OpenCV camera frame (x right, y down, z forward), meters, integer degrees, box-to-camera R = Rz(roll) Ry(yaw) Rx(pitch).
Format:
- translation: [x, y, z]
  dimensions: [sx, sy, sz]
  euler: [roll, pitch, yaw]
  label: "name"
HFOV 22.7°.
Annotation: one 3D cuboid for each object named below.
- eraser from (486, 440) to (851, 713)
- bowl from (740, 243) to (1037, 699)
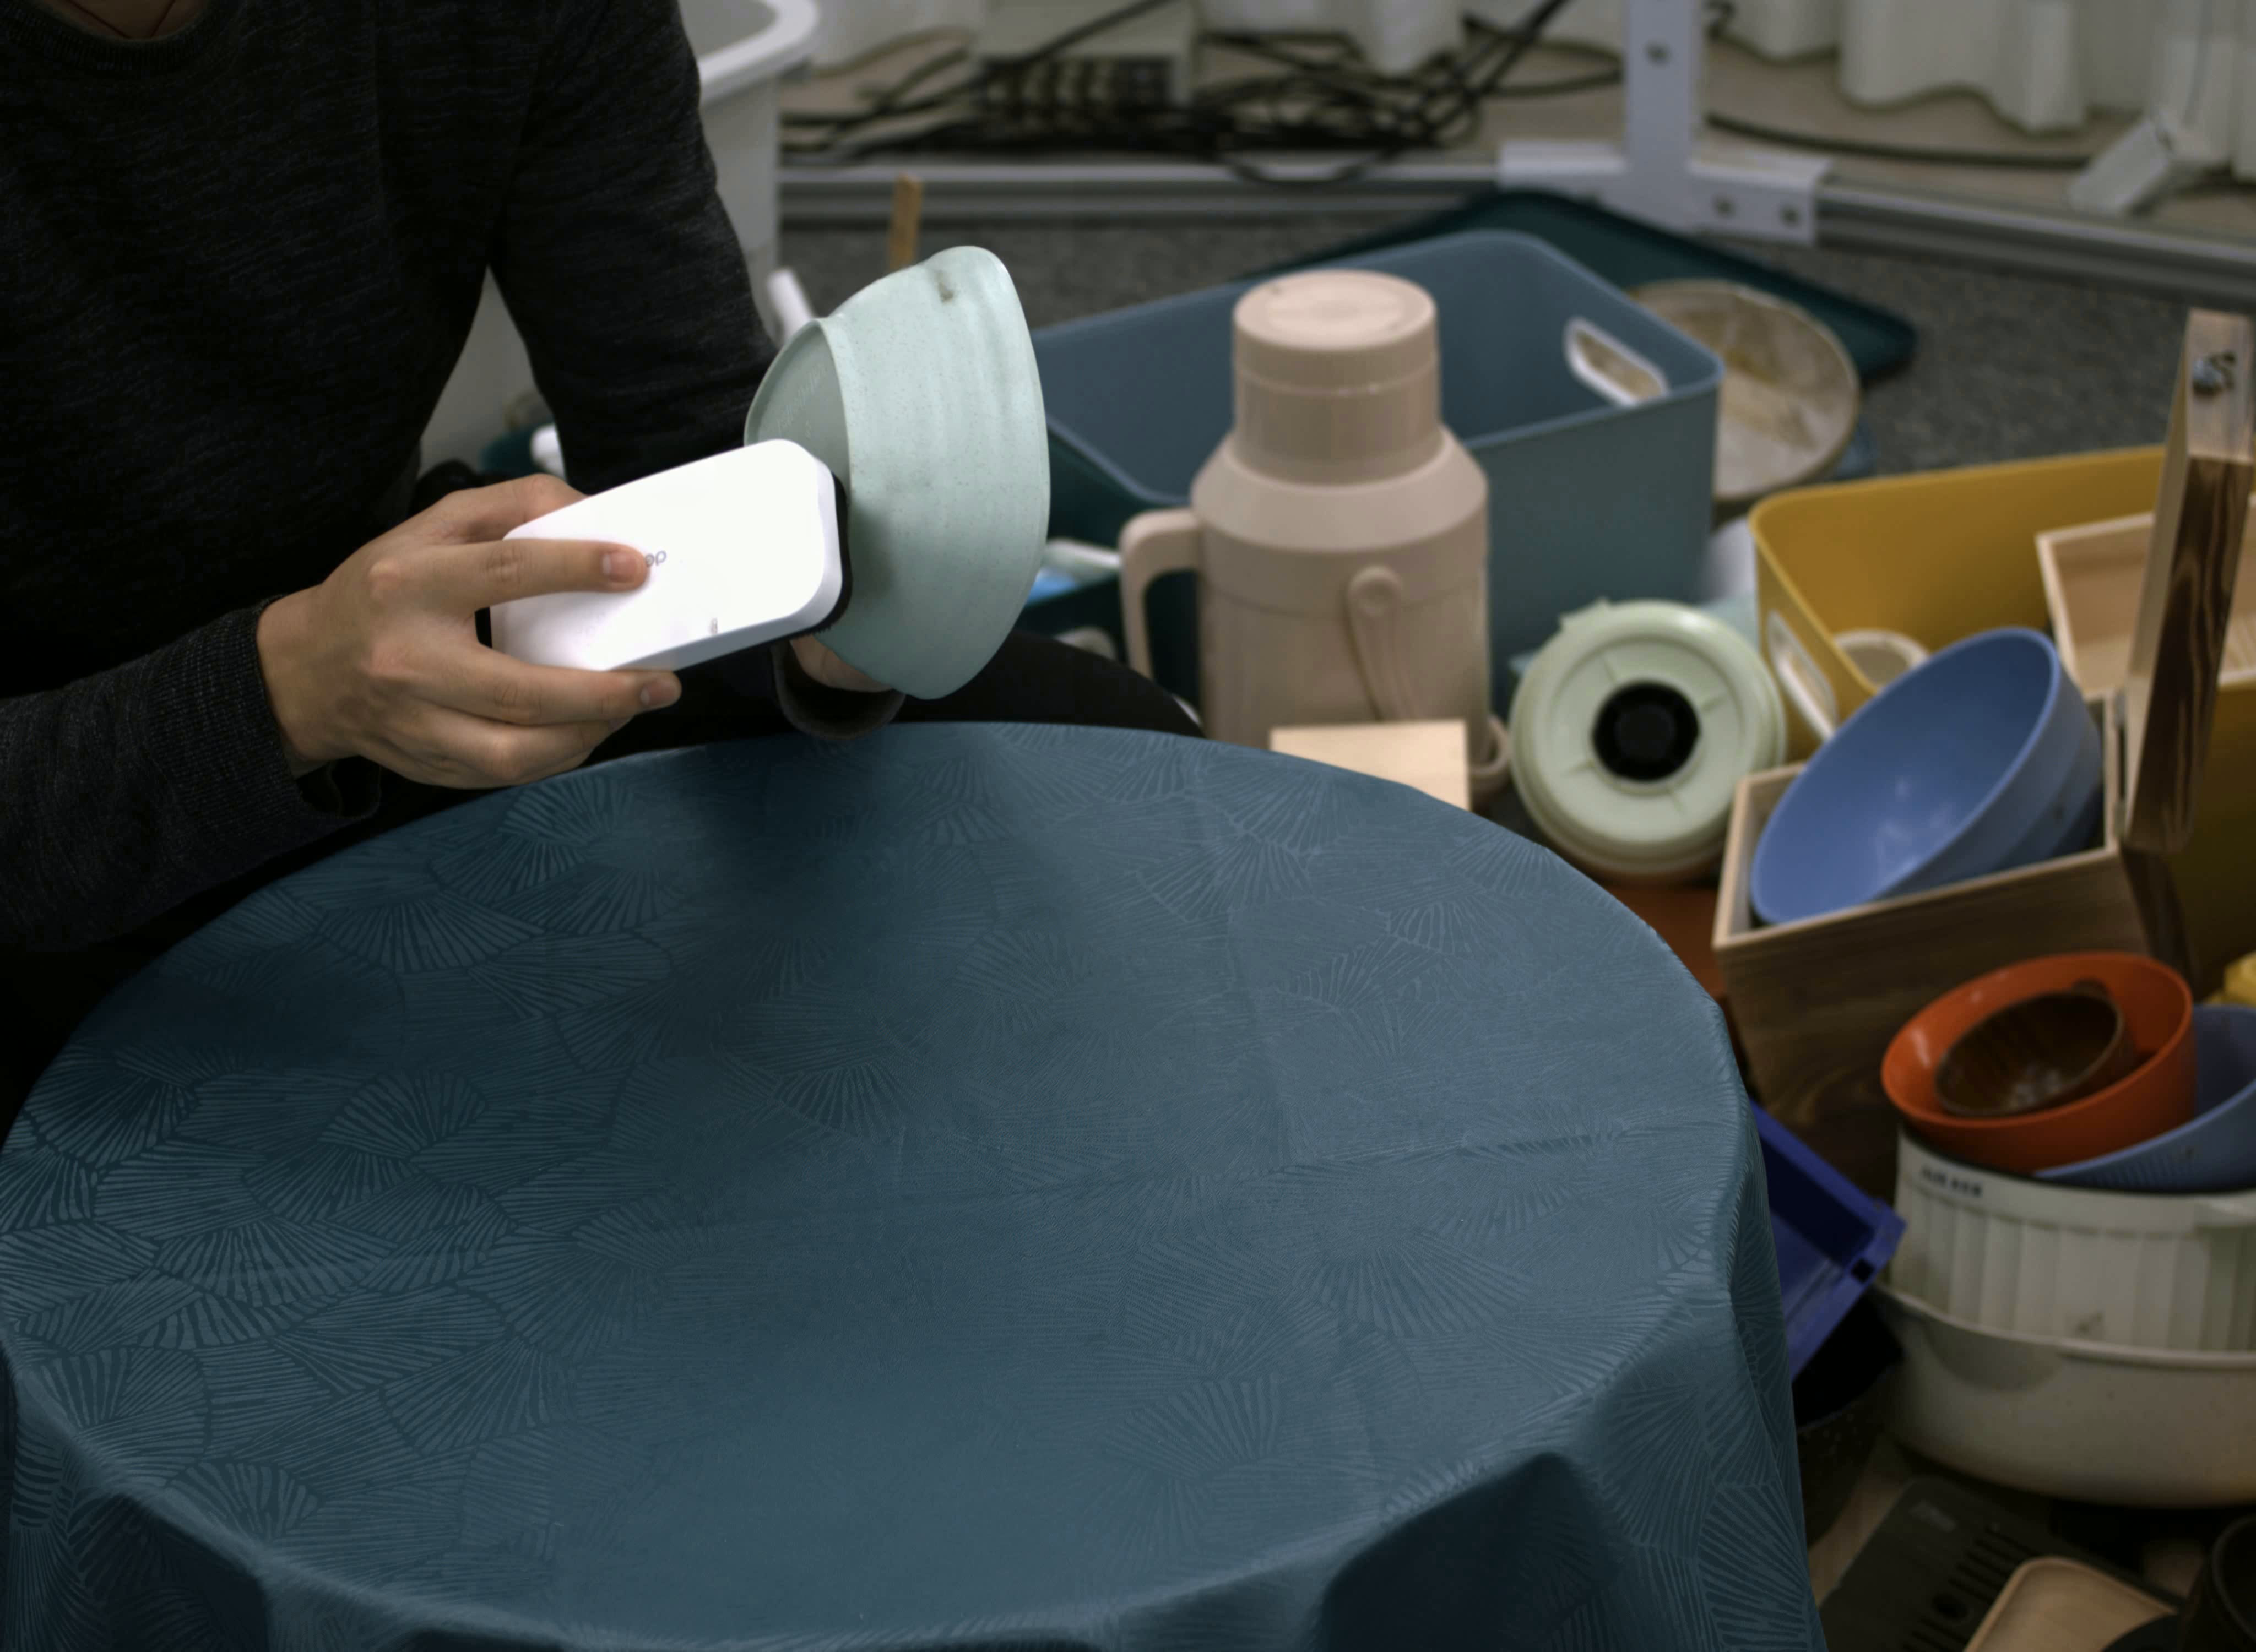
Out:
- translation: [-0.149, -0.080, 1.800]
  dimensions: [0.129, 0.064, 0.034]
  euler: [-16, -25, 26]
  label: "eraser"
- translation: [-0.084, -0.116, 1.838]
  dimensions: [0.059, 0.150, 0.152]
  euler: [2, 23, -24]
  label: "bowl"
